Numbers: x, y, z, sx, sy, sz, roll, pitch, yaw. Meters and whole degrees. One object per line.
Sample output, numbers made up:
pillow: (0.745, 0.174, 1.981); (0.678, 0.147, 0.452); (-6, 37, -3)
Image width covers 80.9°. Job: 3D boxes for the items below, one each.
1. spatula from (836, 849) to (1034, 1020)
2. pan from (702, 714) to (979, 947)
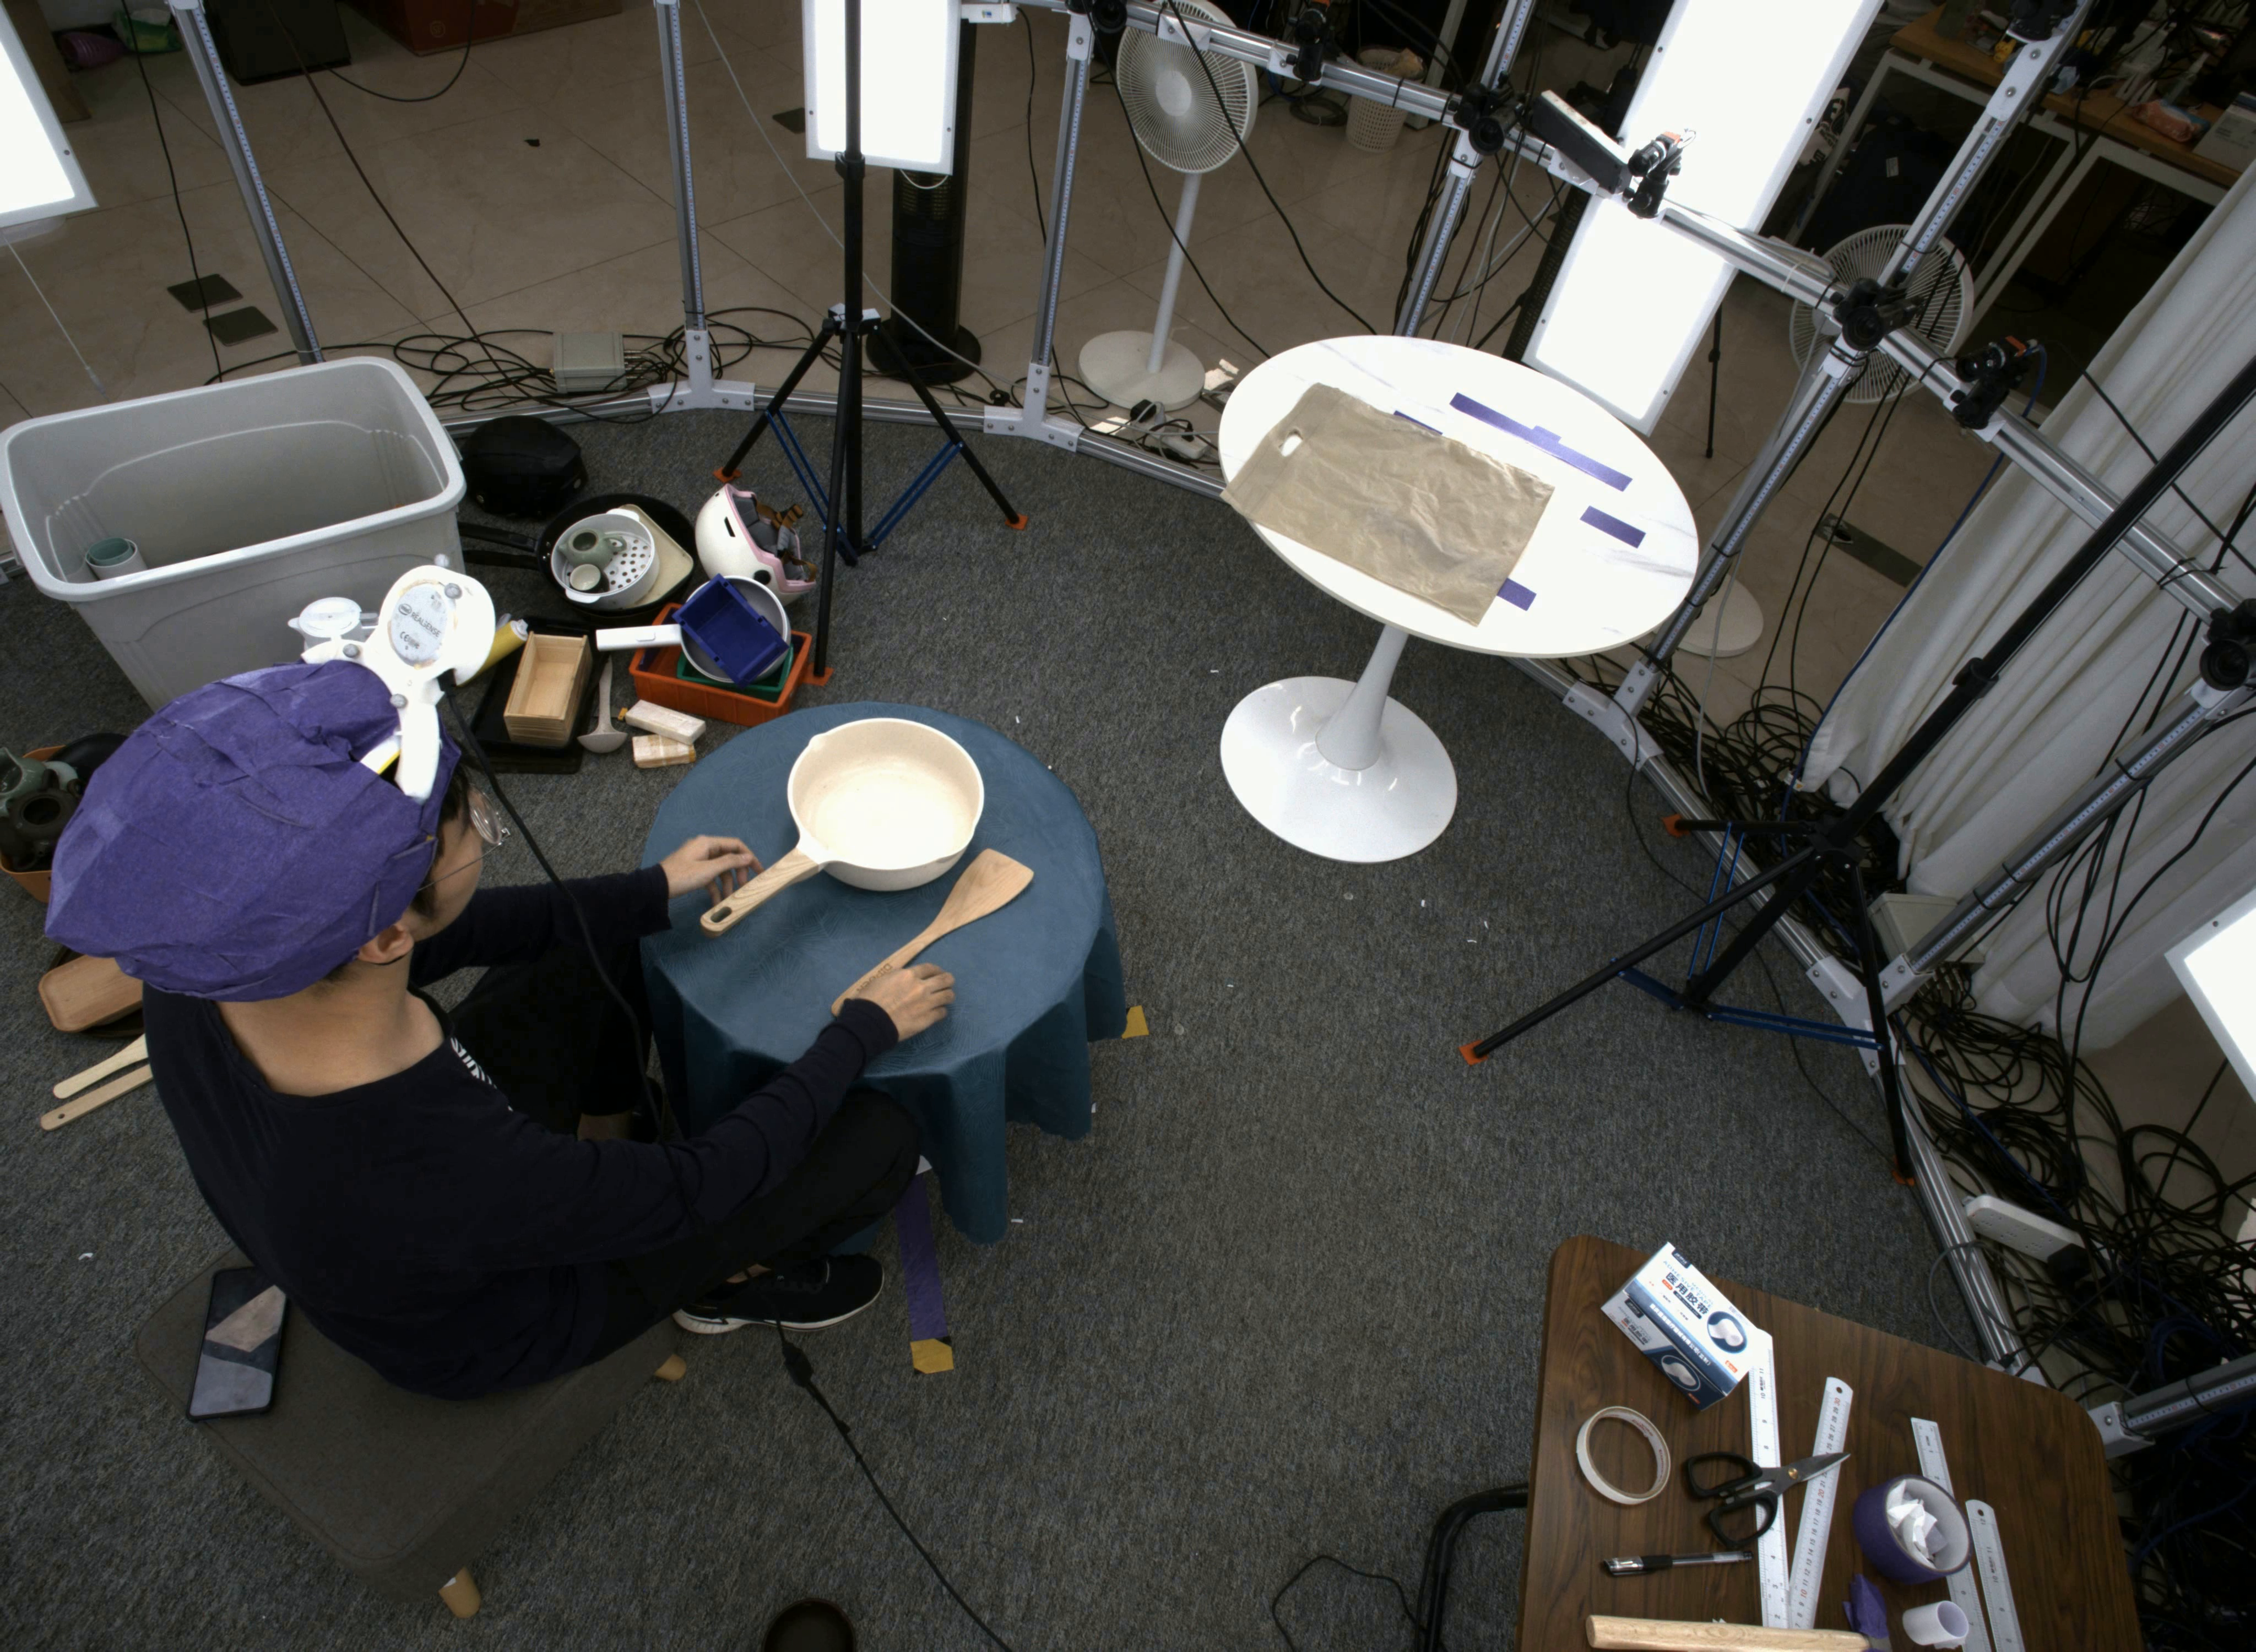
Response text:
spatula: (-0.250, 0.134, 1.654); (0.078, 0.017, 0.327); (37, 53, 14)
pan: (-0.374, 0.025, 1.652); (0.258, 0.104, 0.434); (35, 54, 12)
